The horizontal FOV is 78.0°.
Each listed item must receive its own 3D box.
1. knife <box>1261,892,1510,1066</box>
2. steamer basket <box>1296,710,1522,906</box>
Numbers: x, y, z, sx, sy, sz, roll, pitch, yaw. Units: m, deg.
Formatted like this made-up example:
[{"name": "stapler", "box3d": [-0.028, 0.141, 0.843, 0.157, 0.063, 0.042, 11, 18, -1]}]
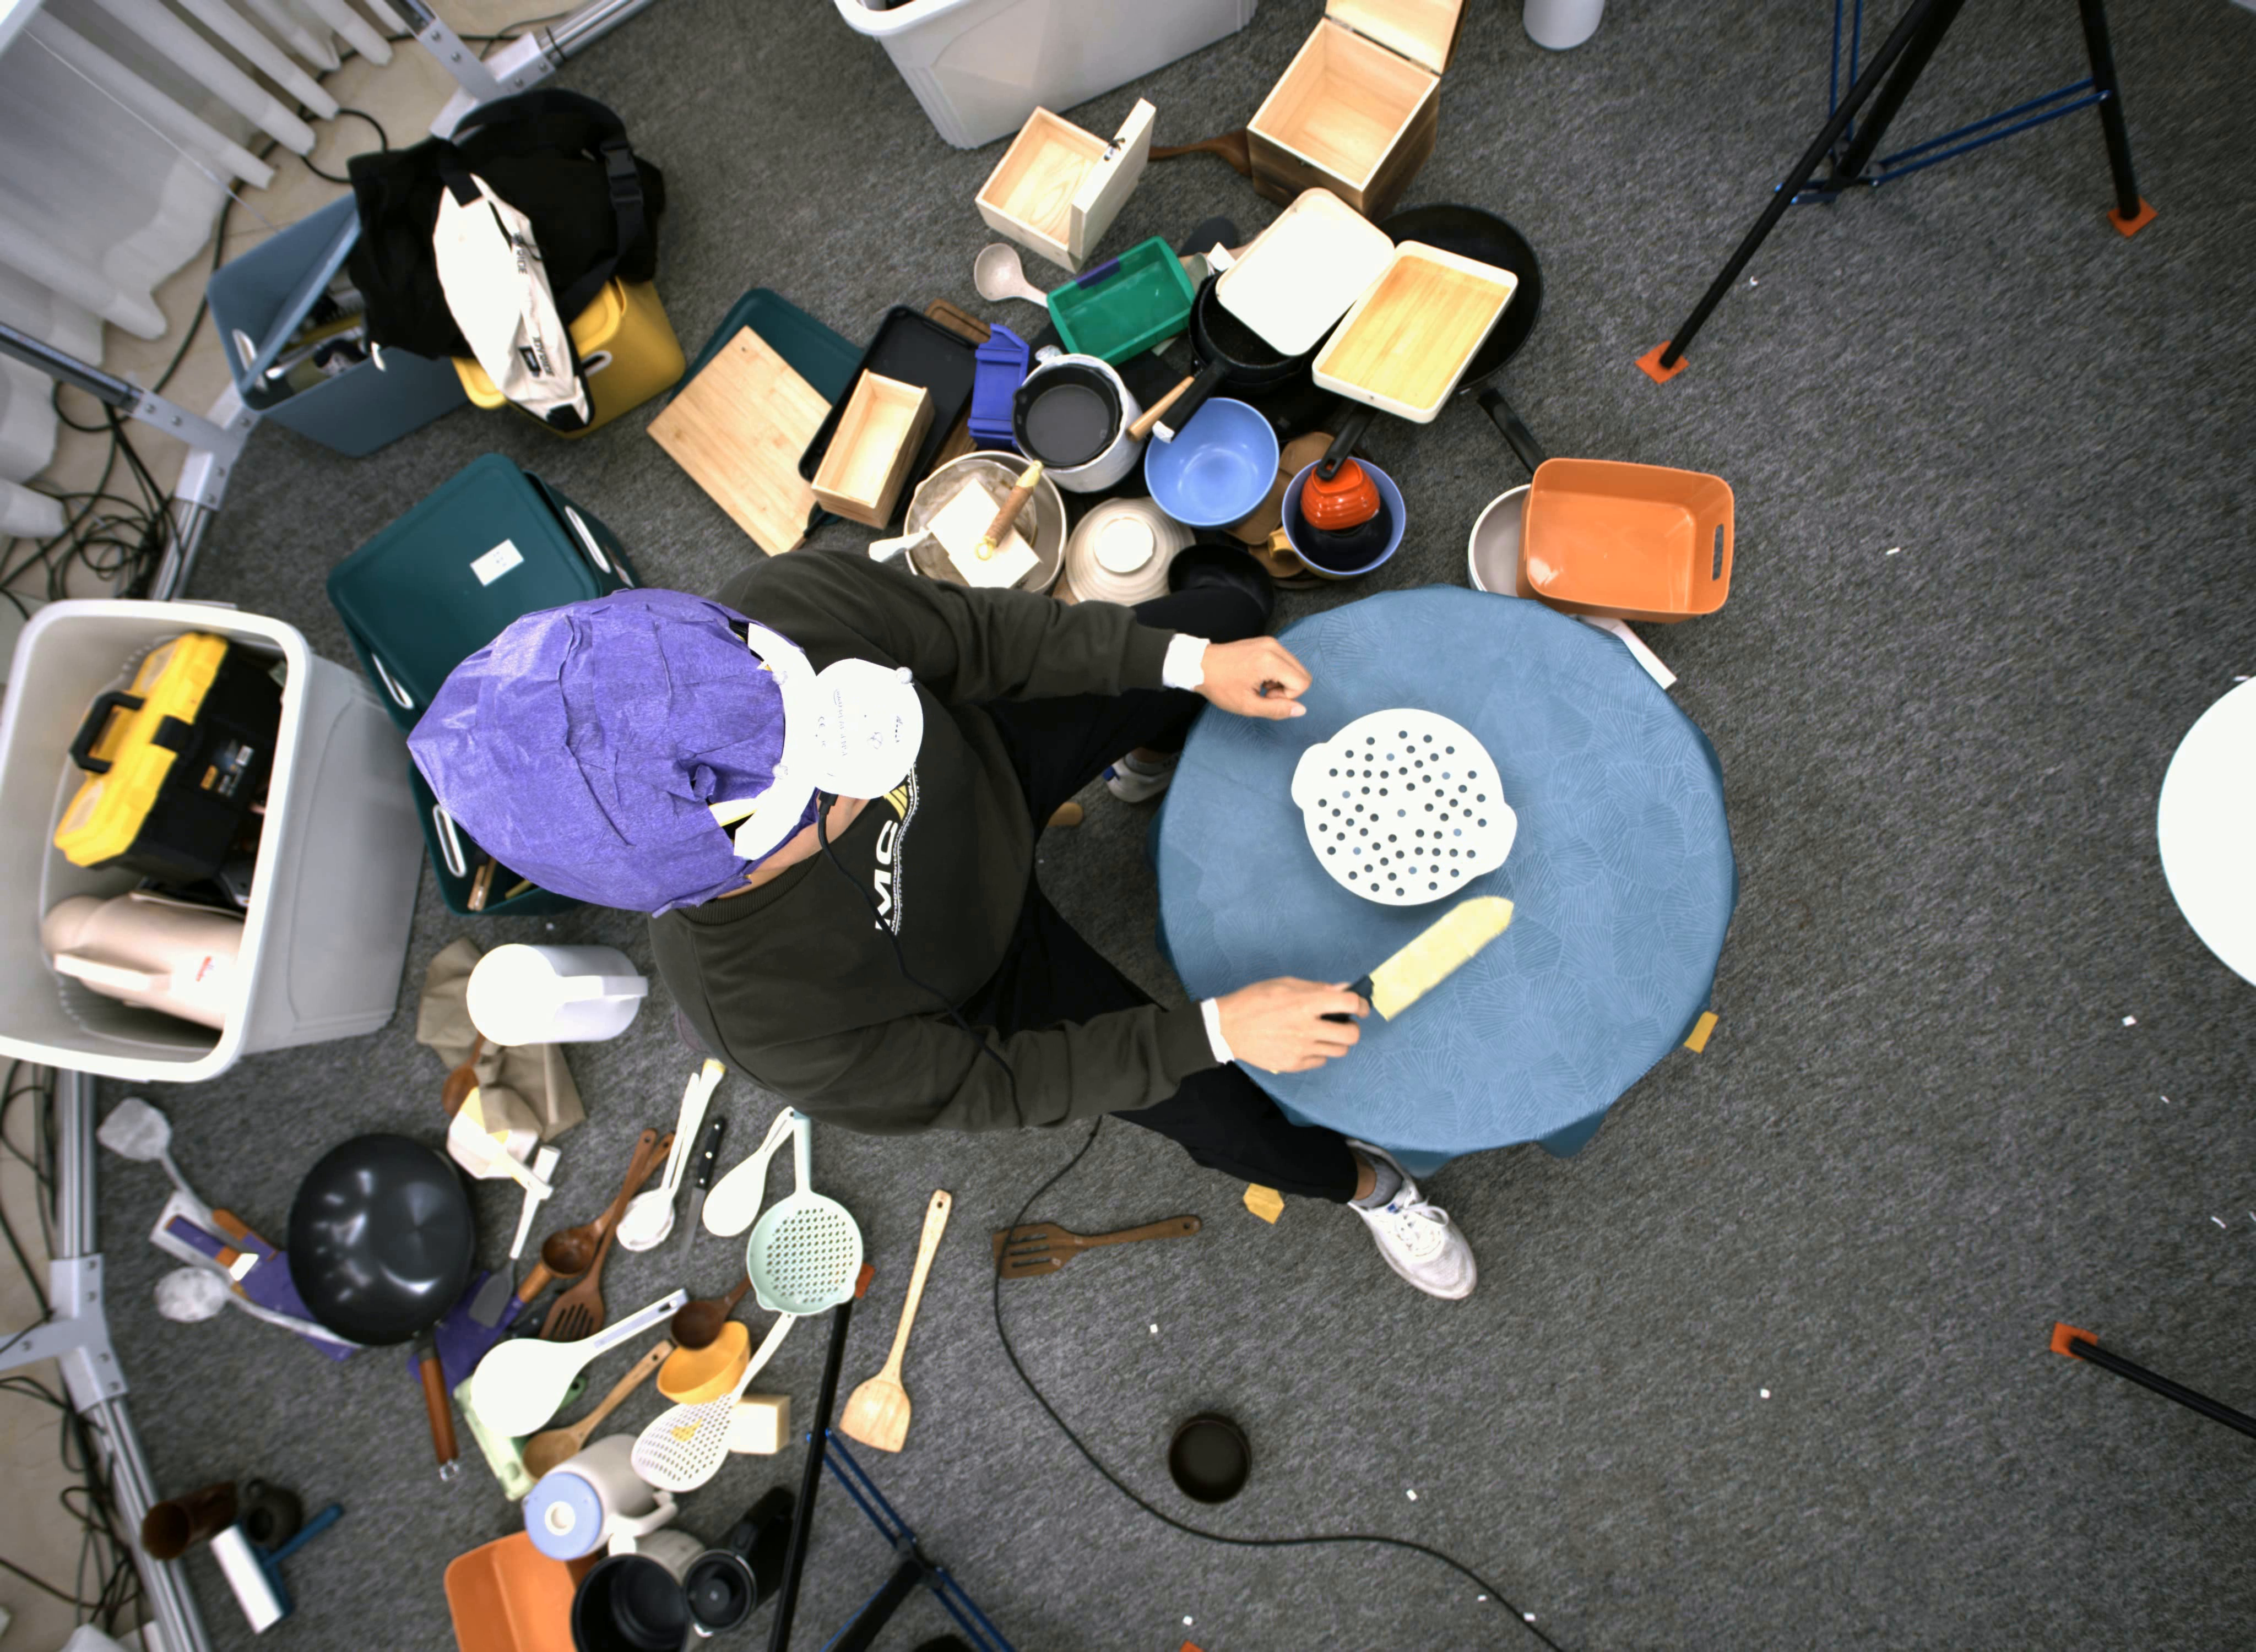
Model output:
[{"name": "knife", "box3d": [0.255, 0.151, 1.357, 0.291, 0.082, 0.026, -35, 42, 7]}, {"name": "steamer basket", "box3d": [0.289, -0.017, 1.427, 0.230, 0.069, 0.201, 20, 89, 12]}]
